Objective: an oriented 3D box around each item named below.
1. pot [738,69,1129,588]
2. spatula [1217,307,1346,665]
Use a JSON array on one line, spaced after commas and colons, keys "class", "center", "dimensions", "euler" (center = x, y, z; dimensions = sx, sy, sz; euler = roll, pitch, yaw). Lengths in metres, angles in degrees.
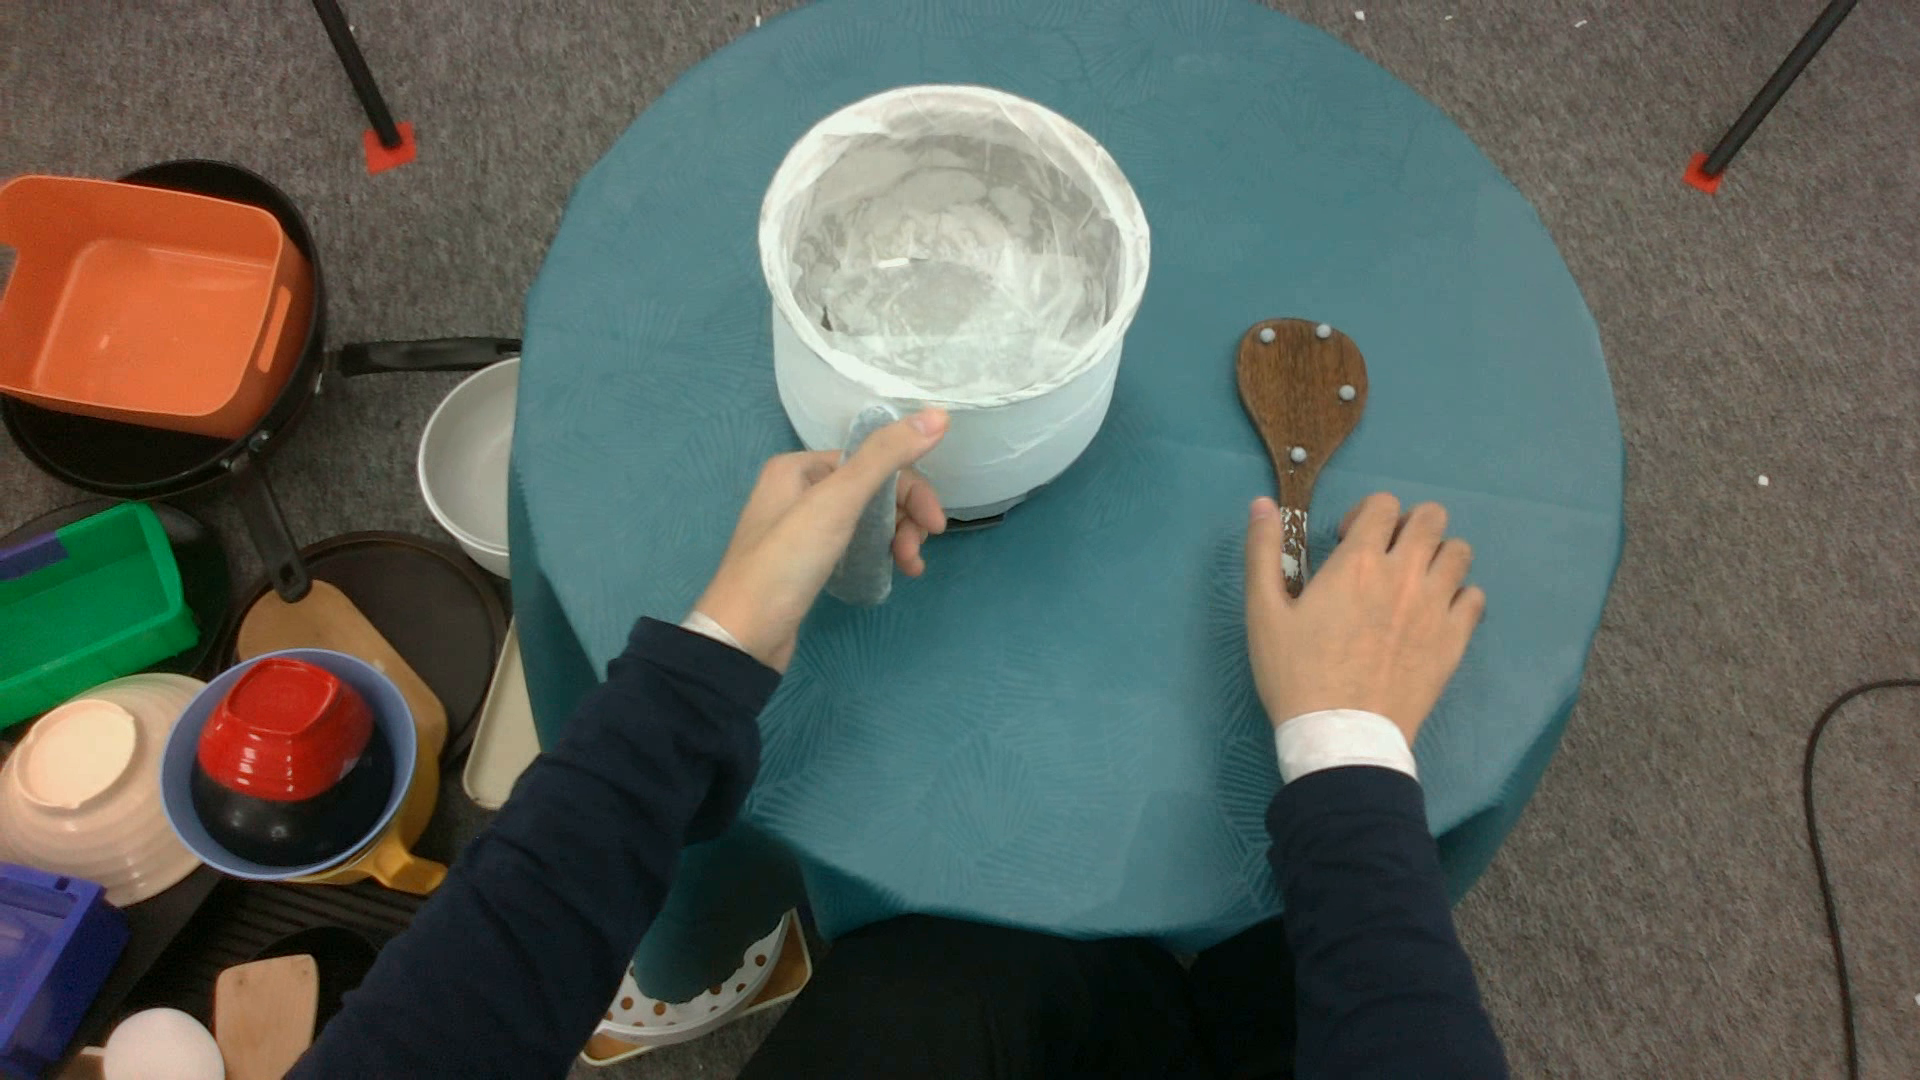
[{"class": "pot", "center": [-0.022, -0.096, 0.667], "dimensions": [0.178, 0.136, 0.234], "euler": [16, 63, 6]}, {"class": "spatula", "center": [0.166, -0.035, 0.731], "dimensions": [0.072, 0.009, 0.216], "euler": [10, 66, 1]}]
